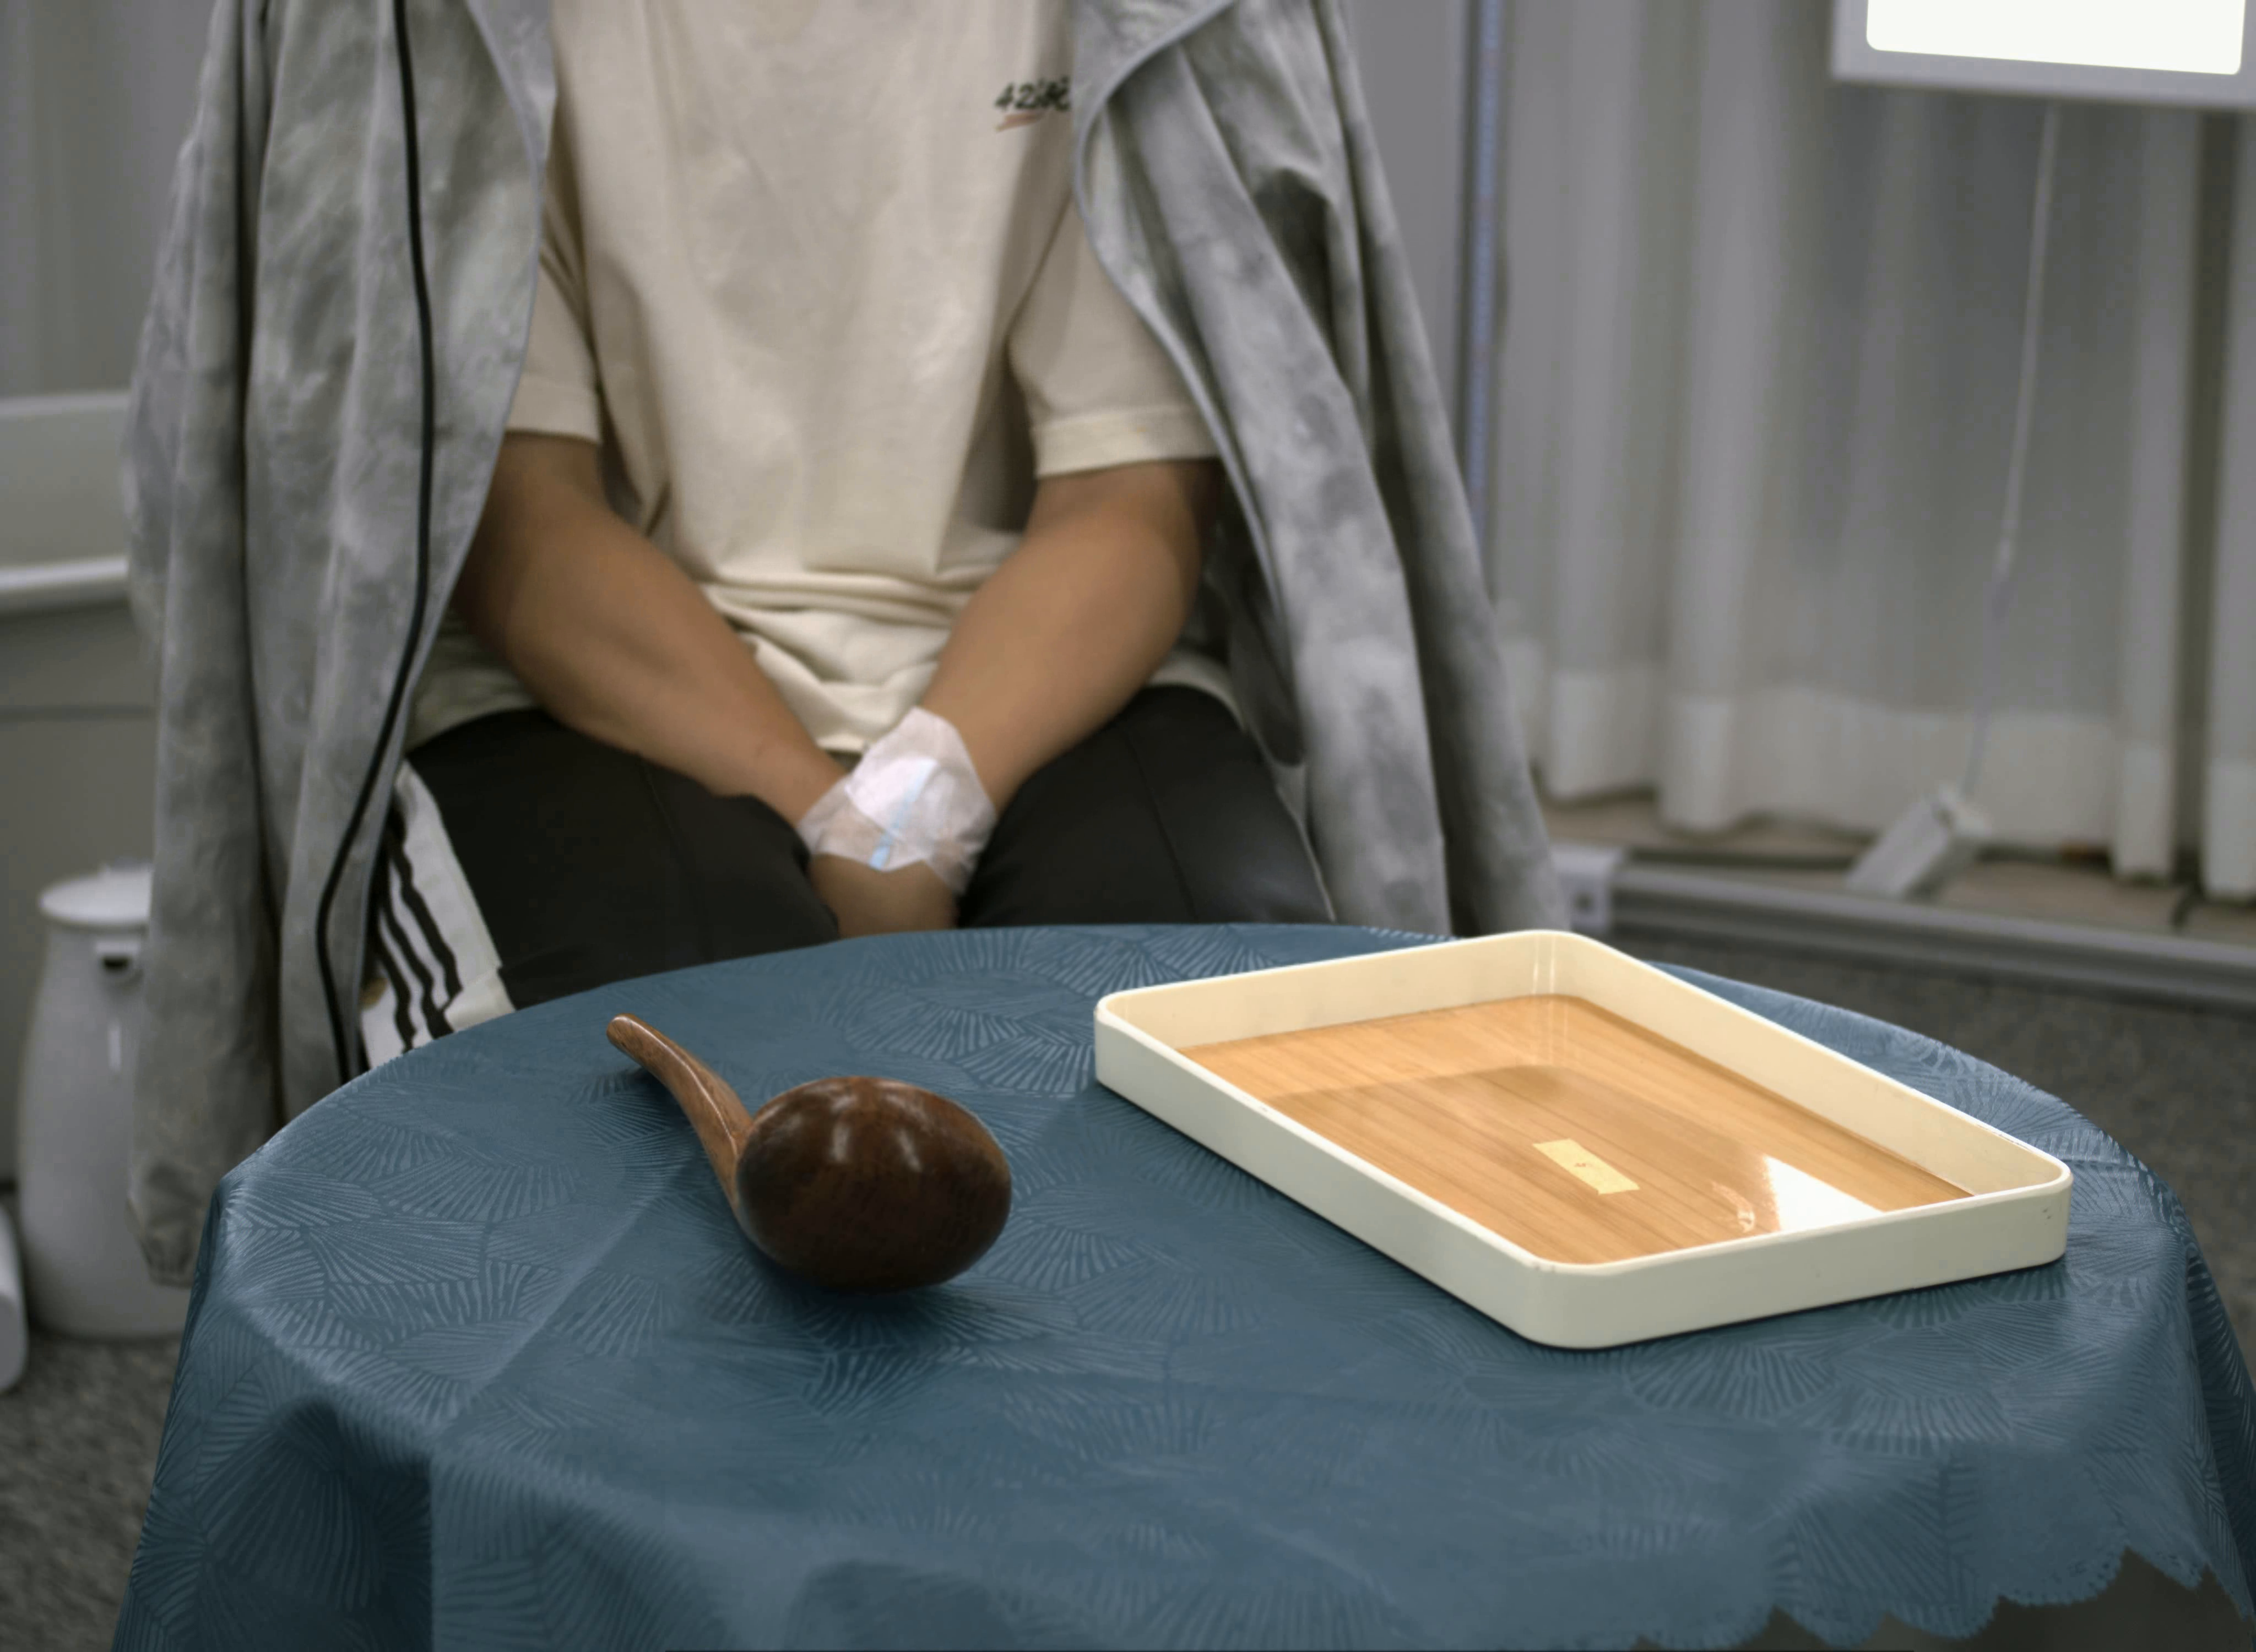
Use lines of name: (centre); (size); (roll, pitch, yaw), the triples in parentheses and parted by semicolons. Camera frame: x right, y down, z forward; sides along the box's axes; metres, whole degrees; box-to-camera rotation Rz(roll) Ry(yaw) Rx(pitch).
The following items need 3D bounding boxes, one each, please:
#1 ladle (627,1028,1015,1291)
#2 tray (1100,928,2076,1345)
ladle: (-0.103, 0.079, 1.612); (0.082, 0.076, 0.271); (39, 1, -21)
tray: (0.137, 0.092, 1.652); (0.192, 0.027, 0.296); (-8, 17, -27)
